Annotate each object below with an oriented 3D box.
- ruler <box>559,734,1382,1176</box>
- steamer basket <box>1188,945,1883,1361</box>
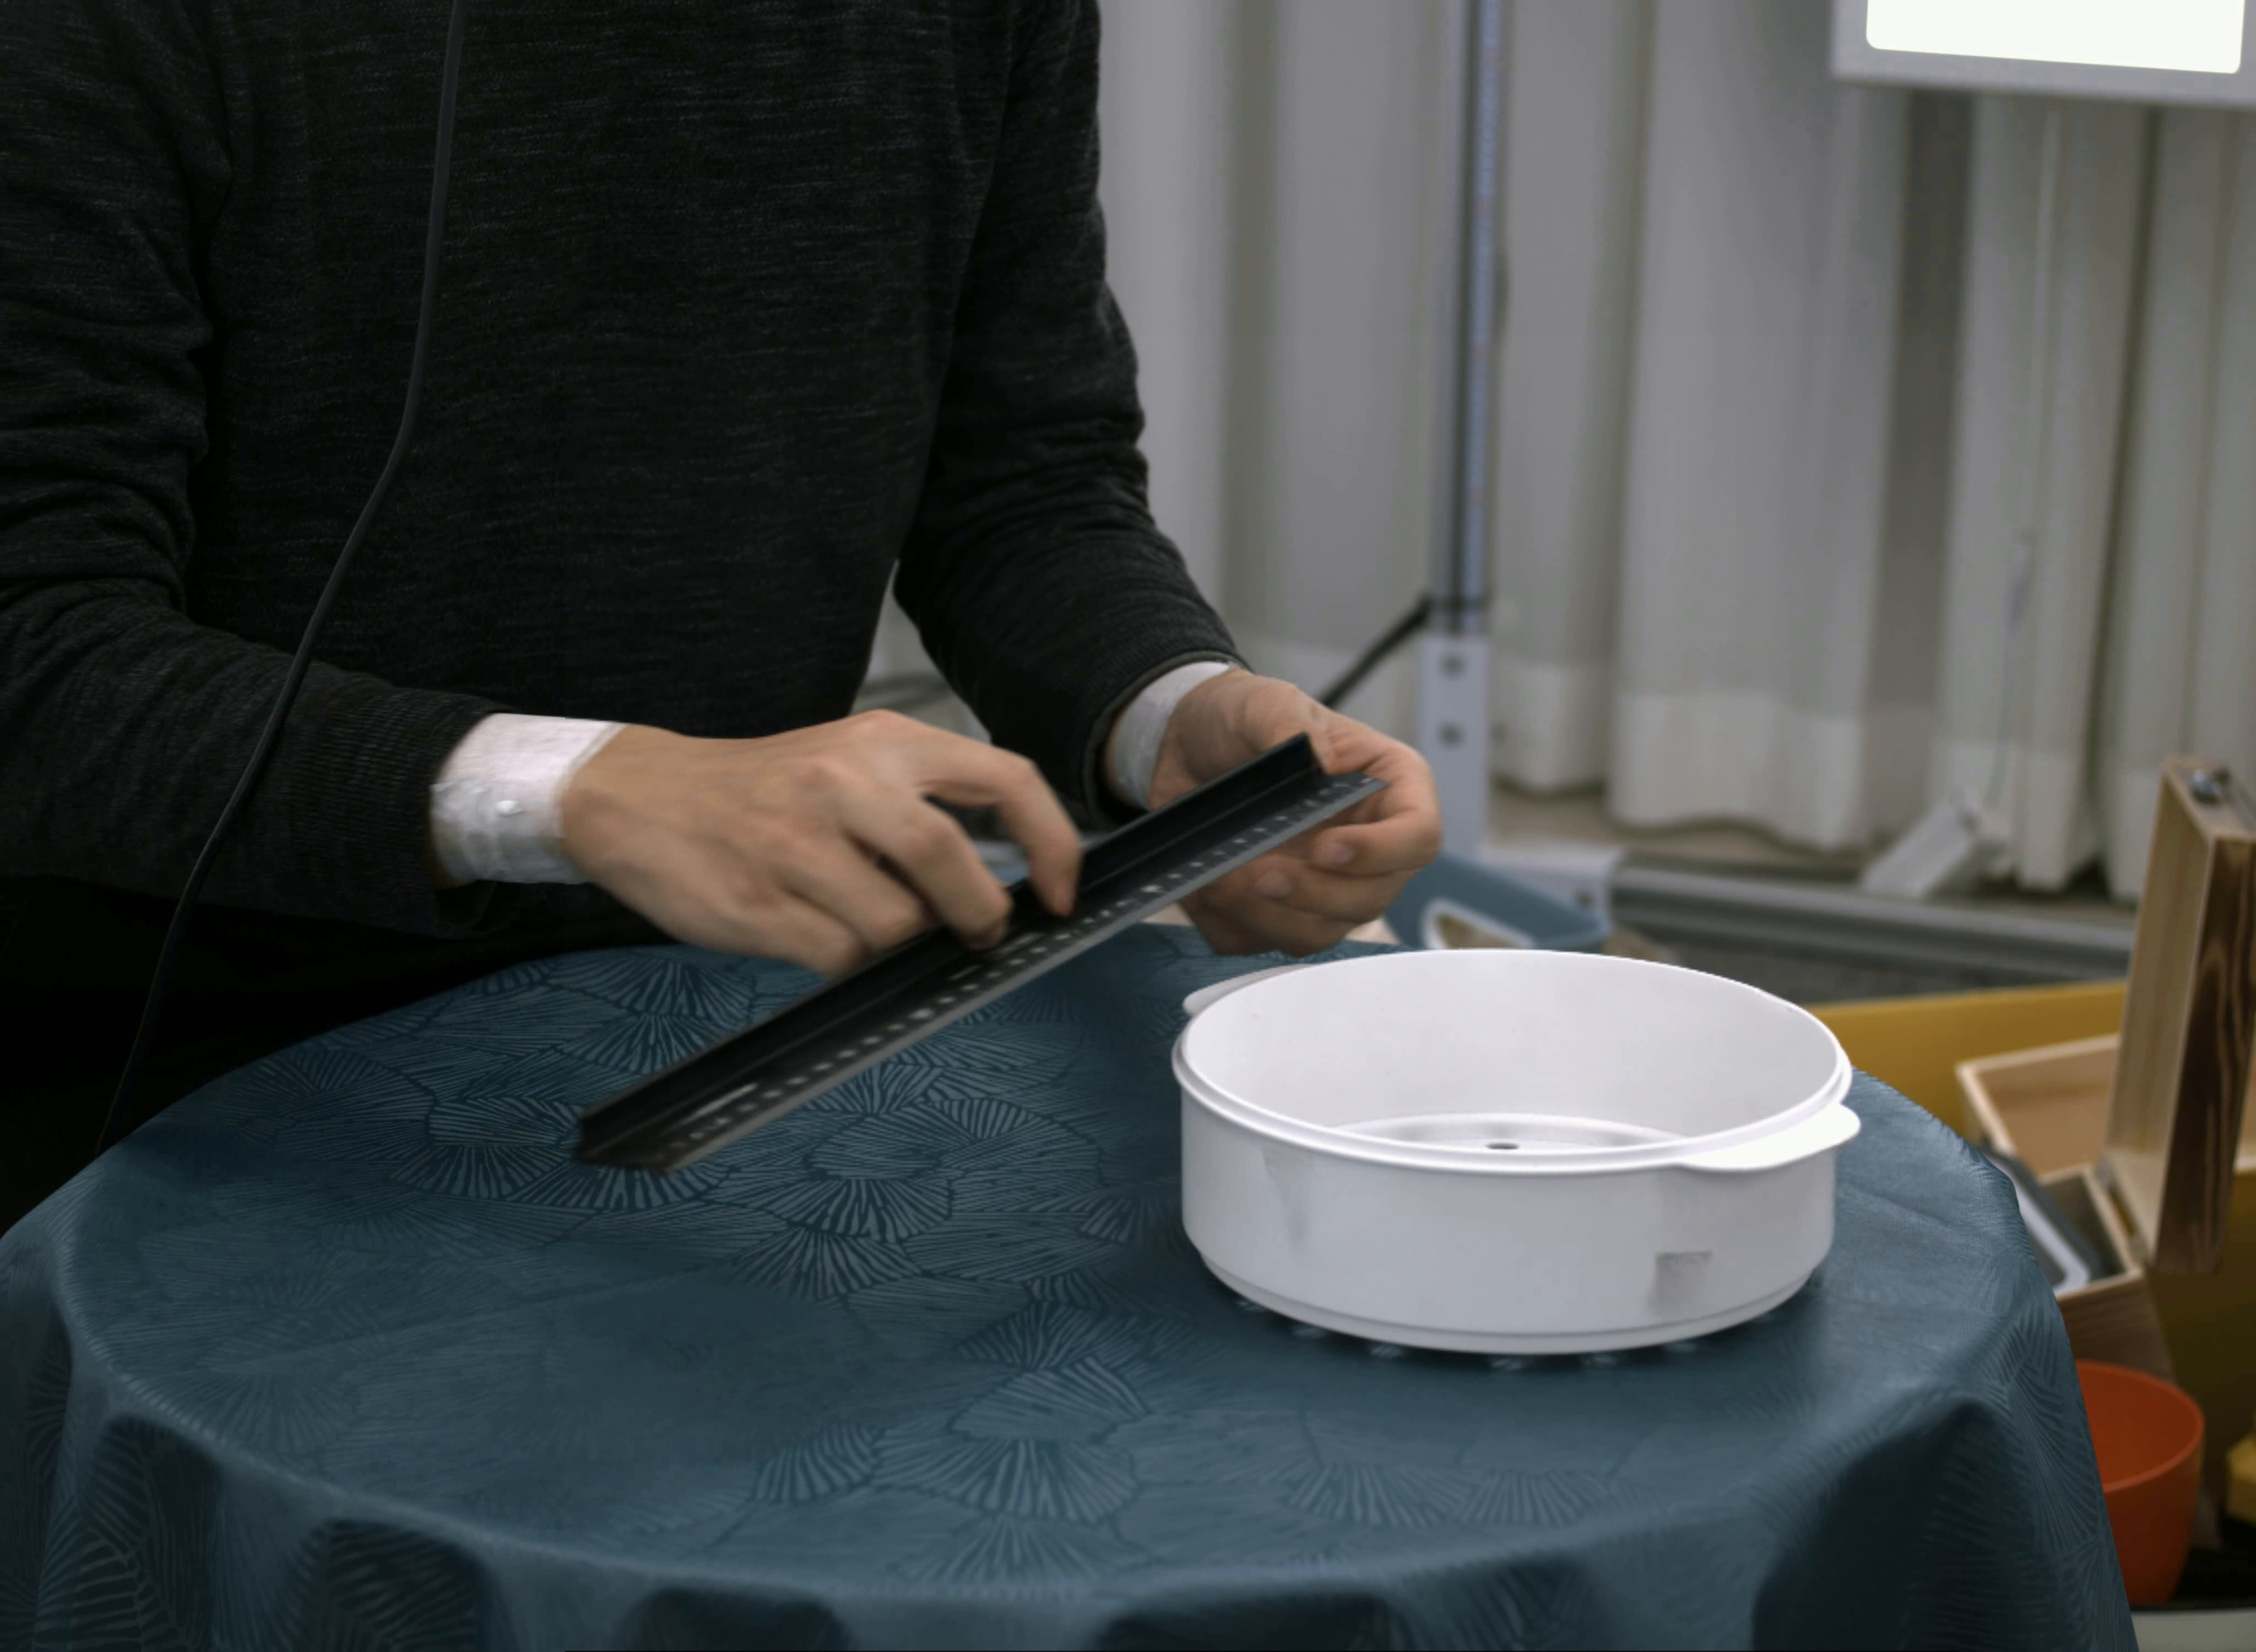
[{"bbox_3d":[-0.039,0.032,1.503,0.039,0.017,0.313,10,27,41],"label":"ruler"},{"bbox_3d":[0.116,0.096,1.553,0.227,0.070,0.203,18,23,41],"label":"steamer basket"}]
